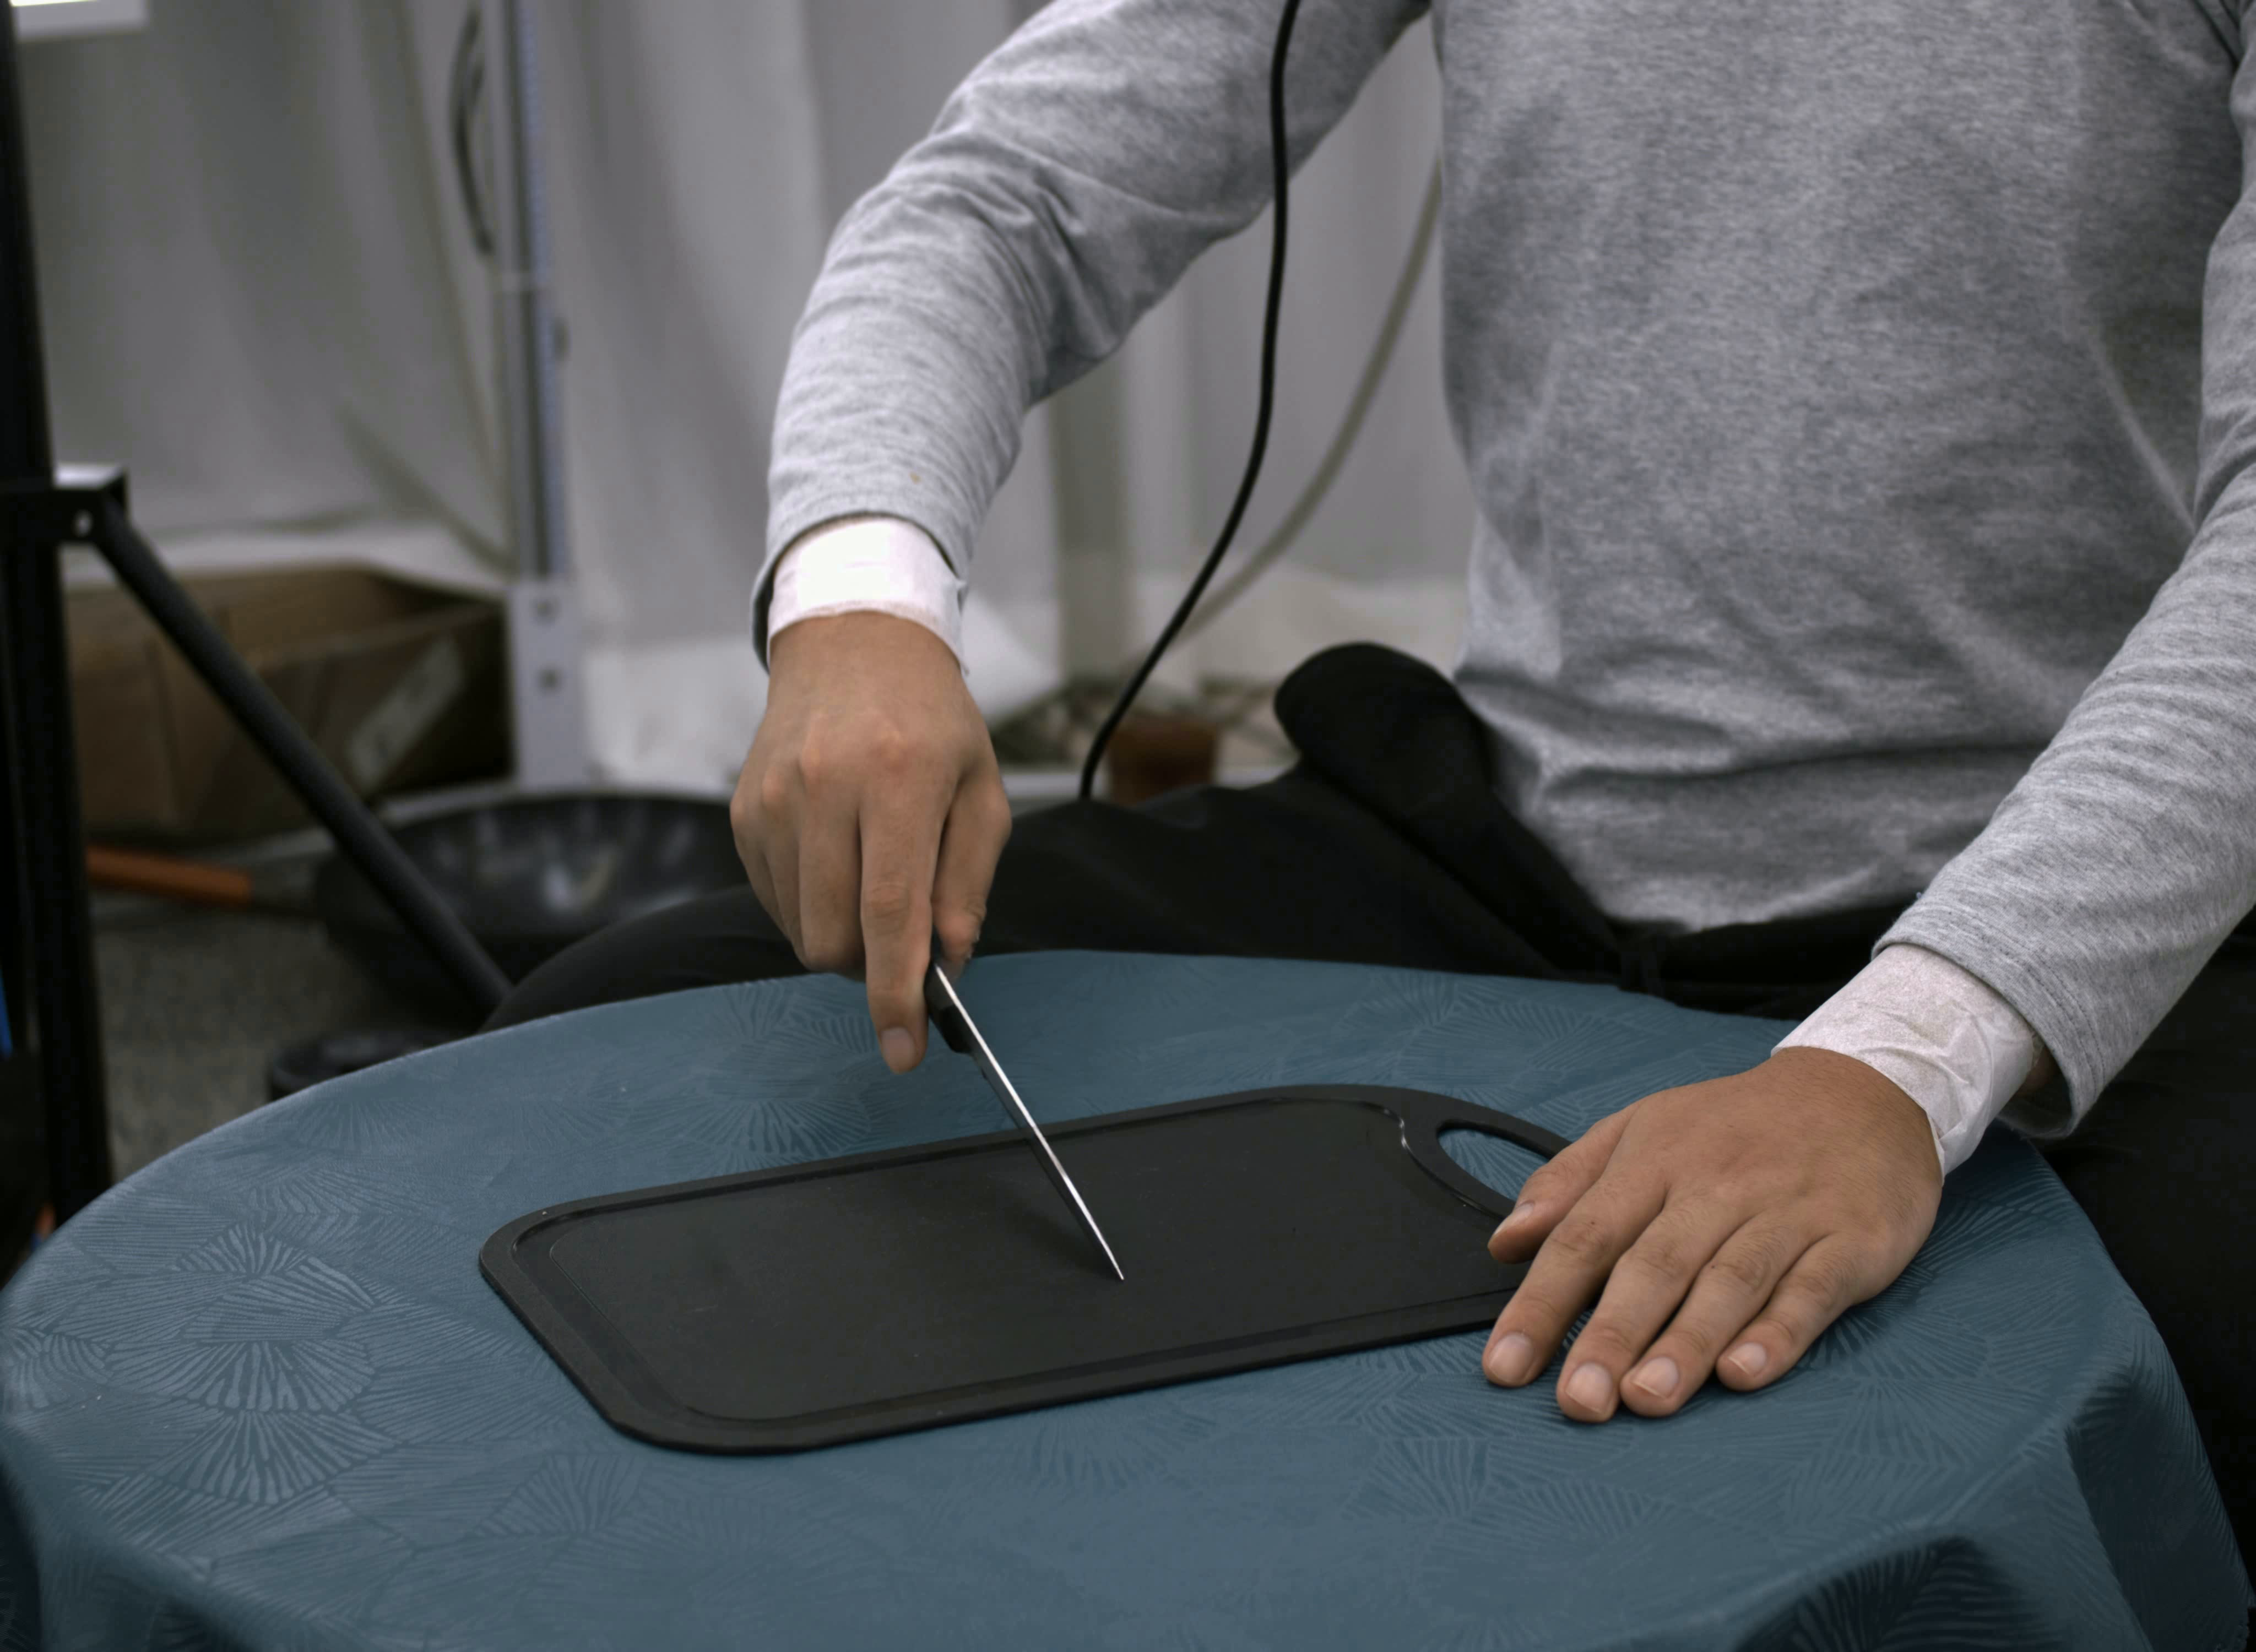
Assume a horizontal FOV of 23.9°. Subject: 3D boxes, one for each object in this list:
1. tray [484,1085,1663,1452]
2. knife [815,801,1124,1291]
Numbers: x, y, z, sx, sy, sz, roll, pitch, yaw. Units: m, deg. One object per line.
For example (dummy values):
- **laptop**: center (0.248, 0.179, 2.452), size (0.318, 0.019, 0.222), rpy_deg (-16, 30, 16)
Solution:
- **tray**: center (-0.011, 0.119, 1.513), size (0.319, 0.010, 0.215), rpy_deg (-8, 17, -19)
- **knife**: center (-0.047, 0.062, 1.575), size (0.016, 0.024, 0.243), rpy_deg (-19, 40, -13)
